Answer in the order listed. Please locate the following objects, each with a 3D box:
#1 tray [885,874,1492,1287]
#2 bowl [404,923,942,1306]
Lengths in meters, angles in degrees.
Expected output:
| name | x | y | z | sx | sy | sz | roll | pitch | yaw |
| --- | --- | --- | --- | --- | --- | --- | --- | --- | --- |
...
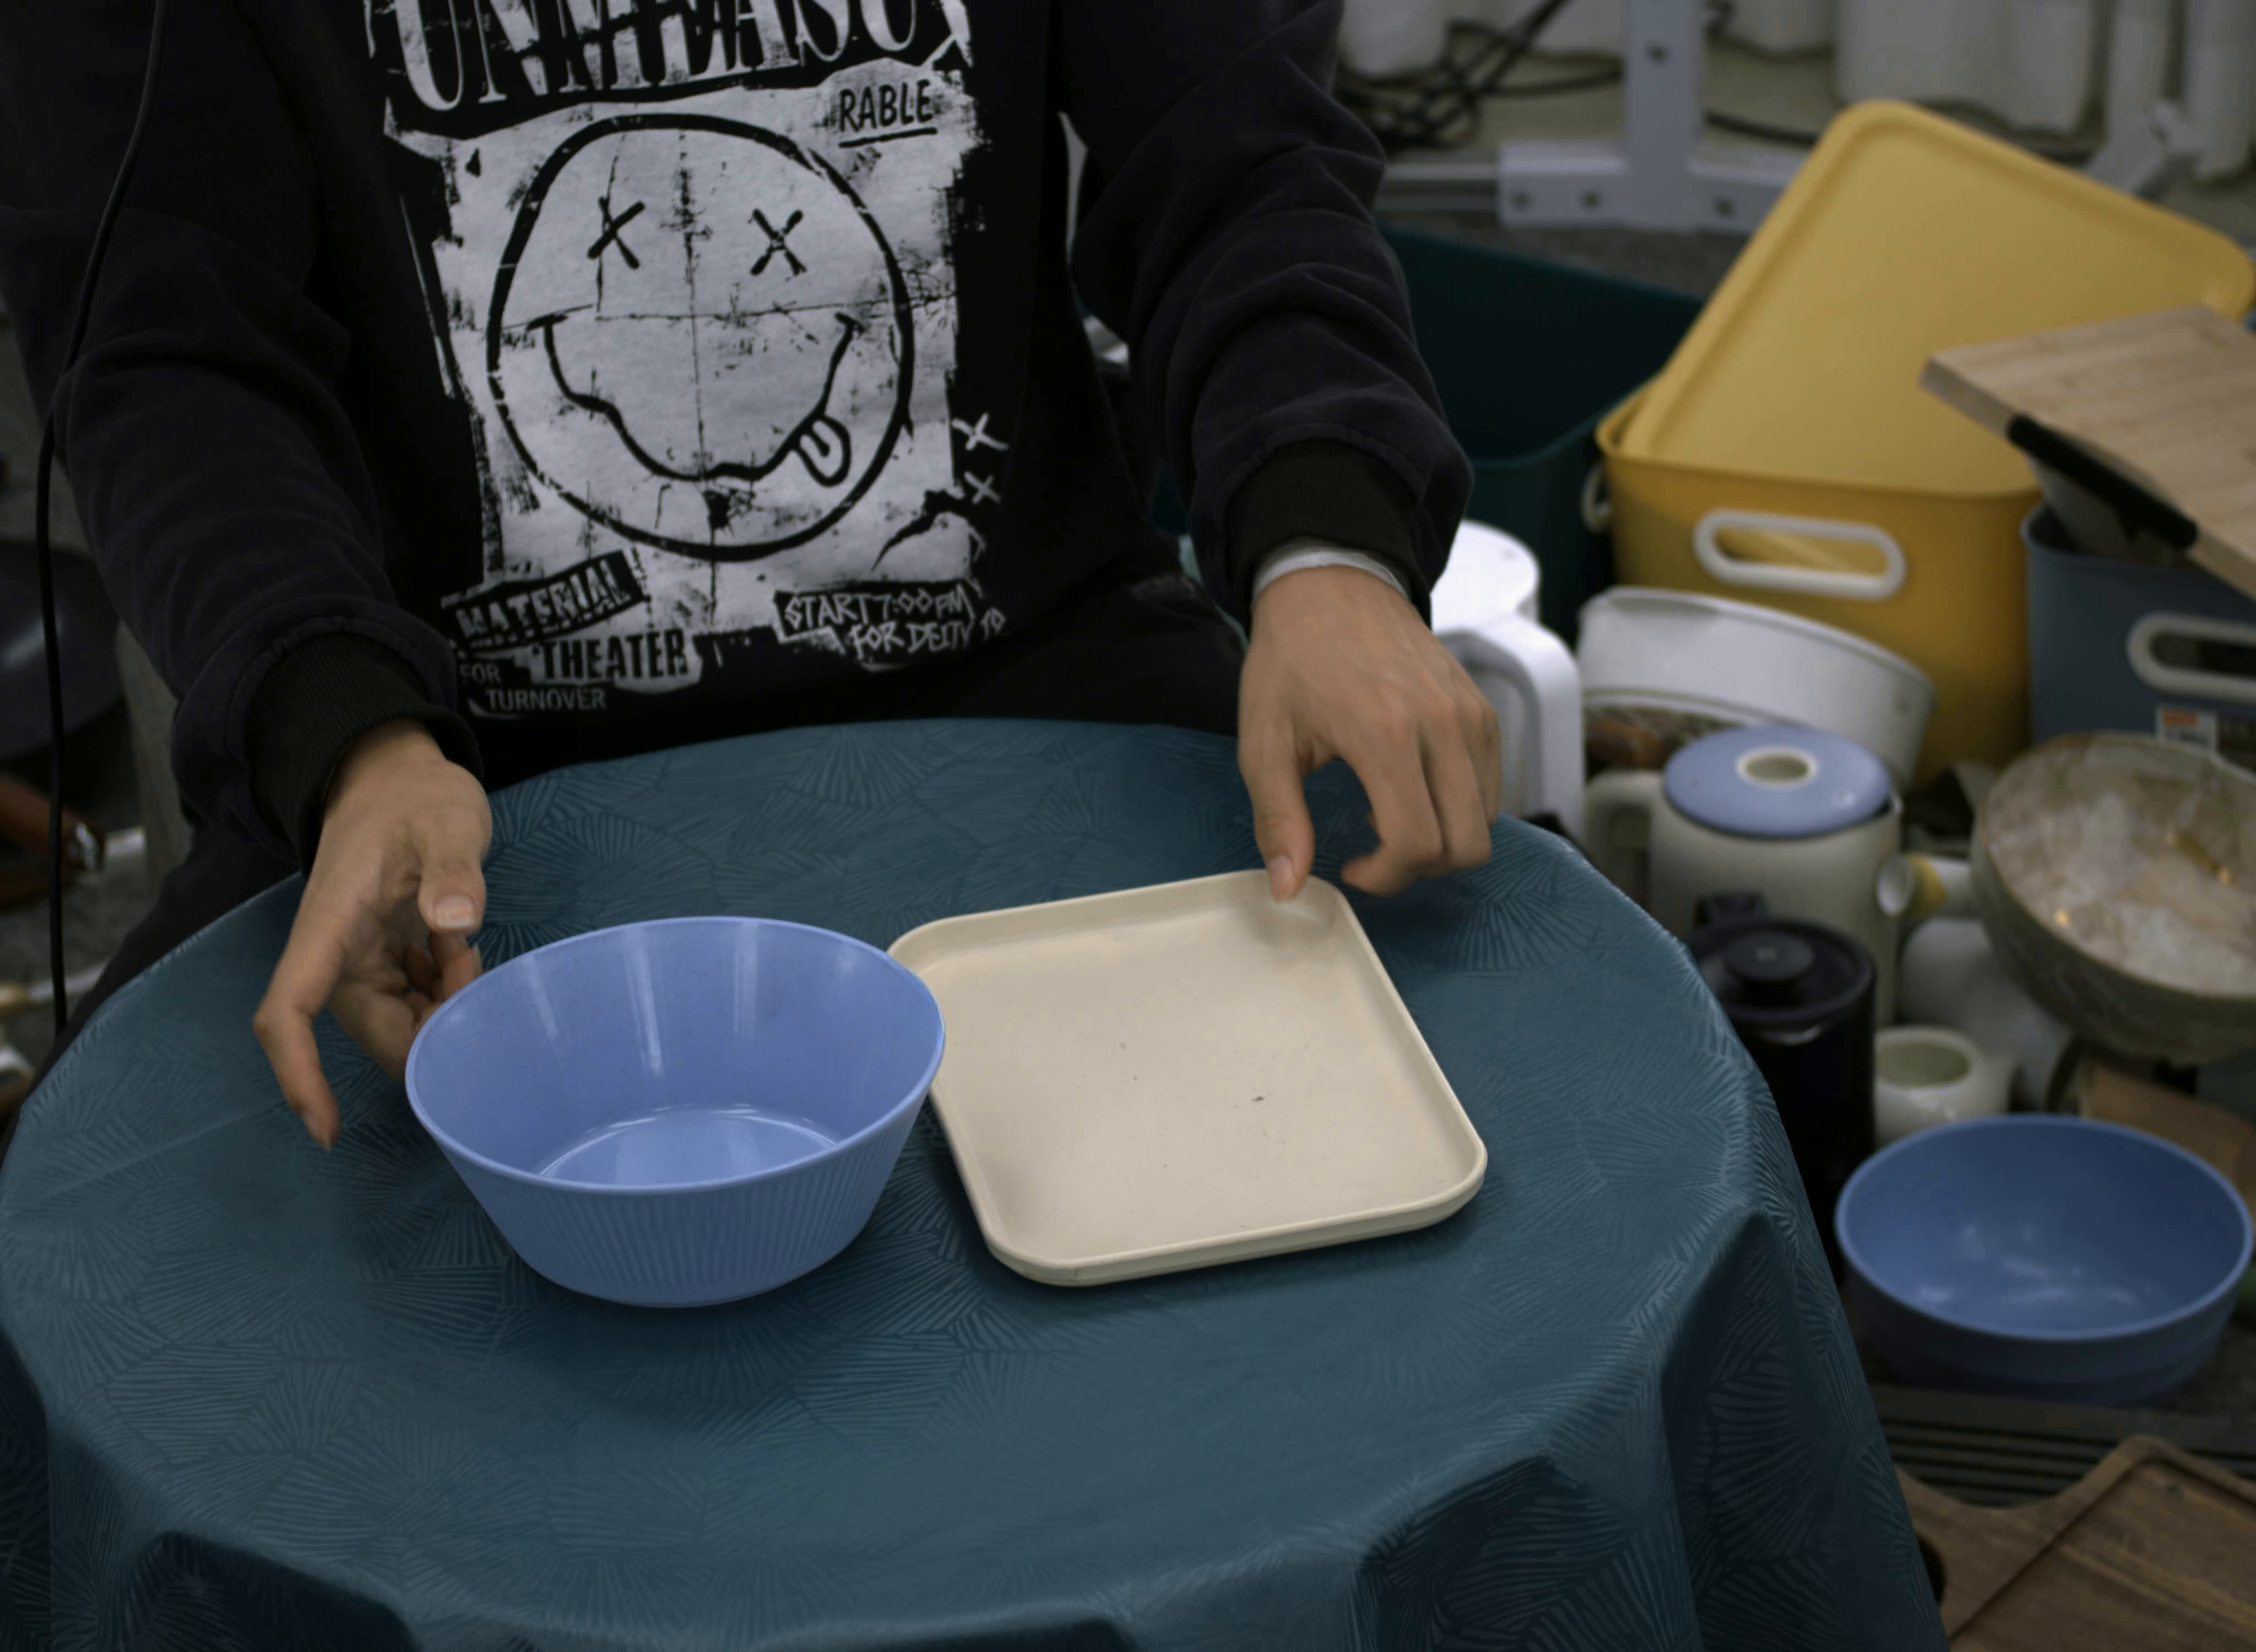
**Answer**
| name | x | y | z | sx | sy | sz | roll | pitch | yaw |
| --- | --- | --- | --- | --- | --- | --- | --- | --- | --- |
| tray | 0.017 | 0.085 | 1.911 | 0.171 | 0.017 | 0.242 | -8 | 28 | -10 |
| bowl | -0.147 | 0.101 | 1.840 | 0.175 | 0.069 | 0.179 | -2 | 27 | 1 |
